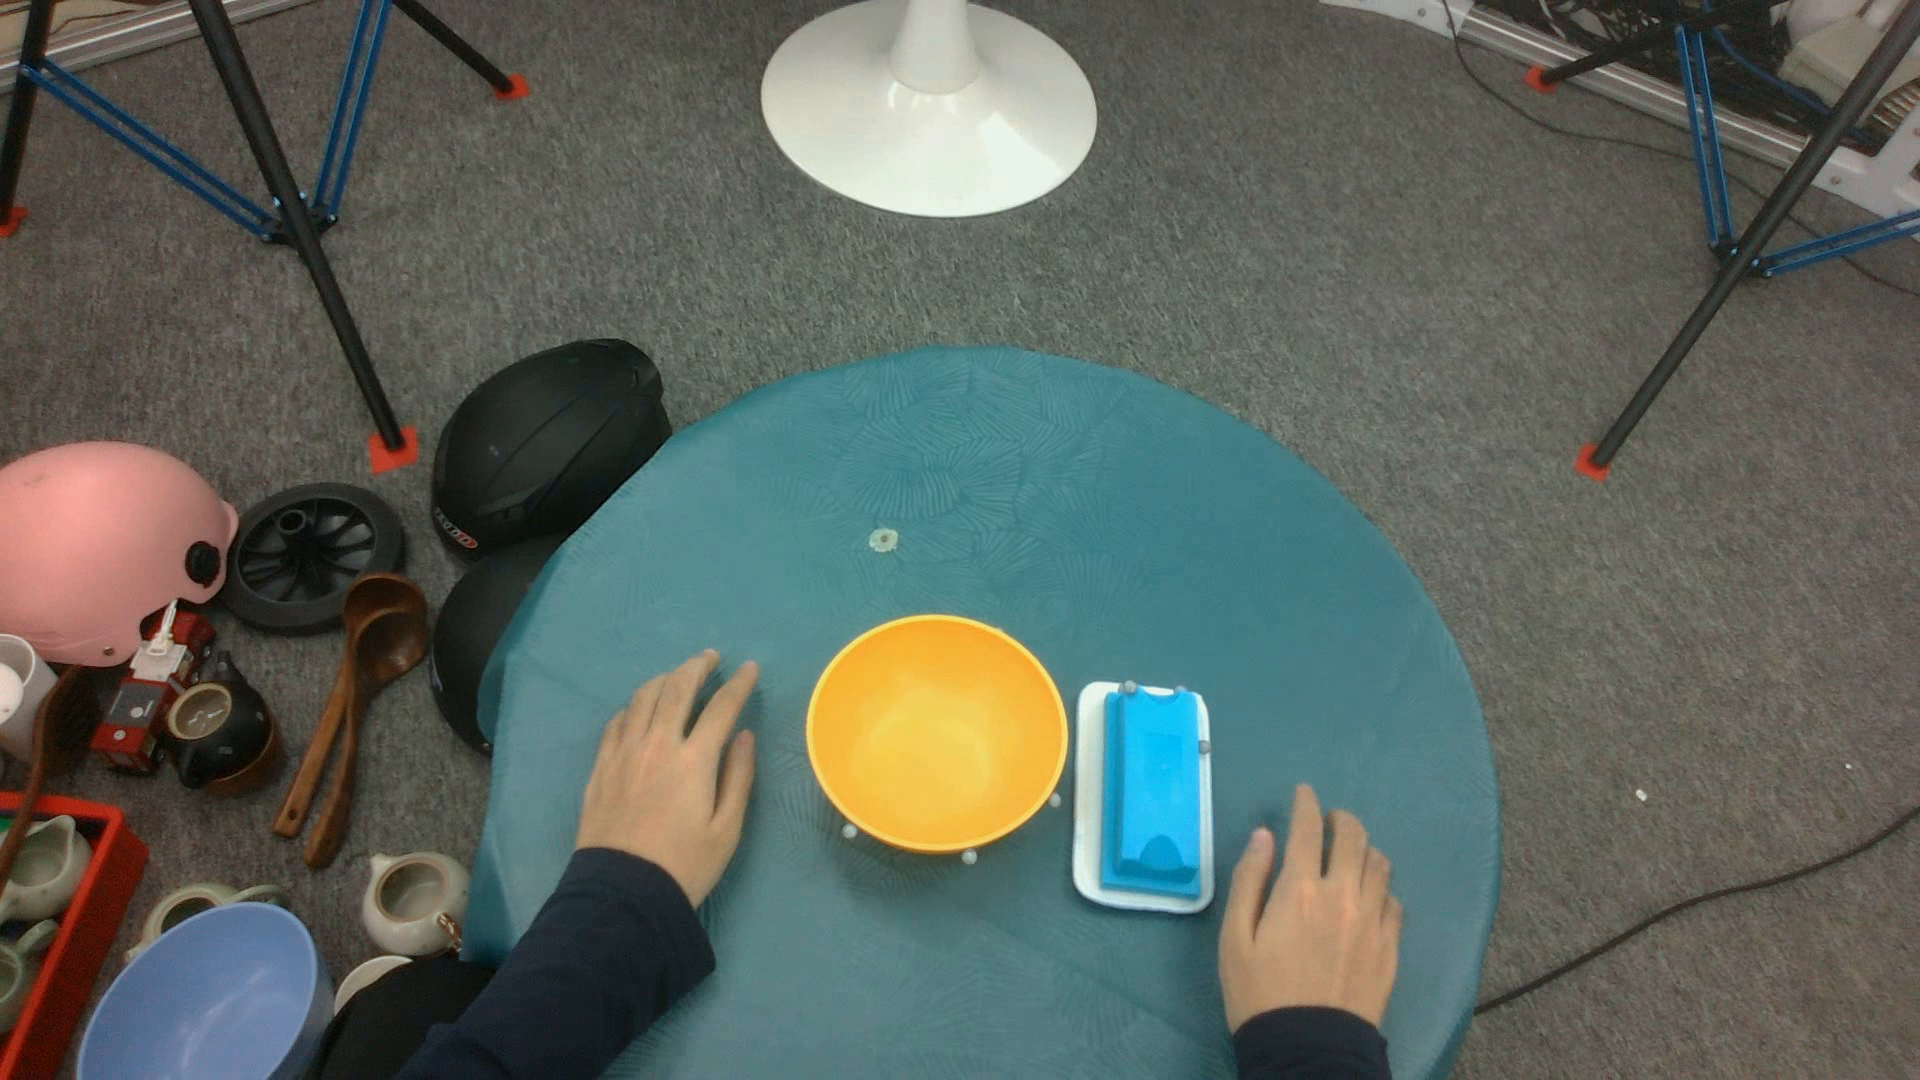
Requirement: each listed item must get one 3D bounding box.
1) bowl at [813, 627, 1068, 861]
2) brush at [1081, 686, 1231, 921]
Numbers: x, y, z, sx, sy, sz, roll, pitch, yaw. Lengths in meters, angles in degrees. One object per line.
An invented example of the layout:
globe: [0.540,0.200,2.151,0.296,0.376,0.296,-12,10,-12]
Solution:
bowl: [-0.013,0.126,0.794,0.145,0.060,0.146,3,53,-4]
brush: [0.114,0.143,0.790,0.084,0.055,0.144,5,52,3]
